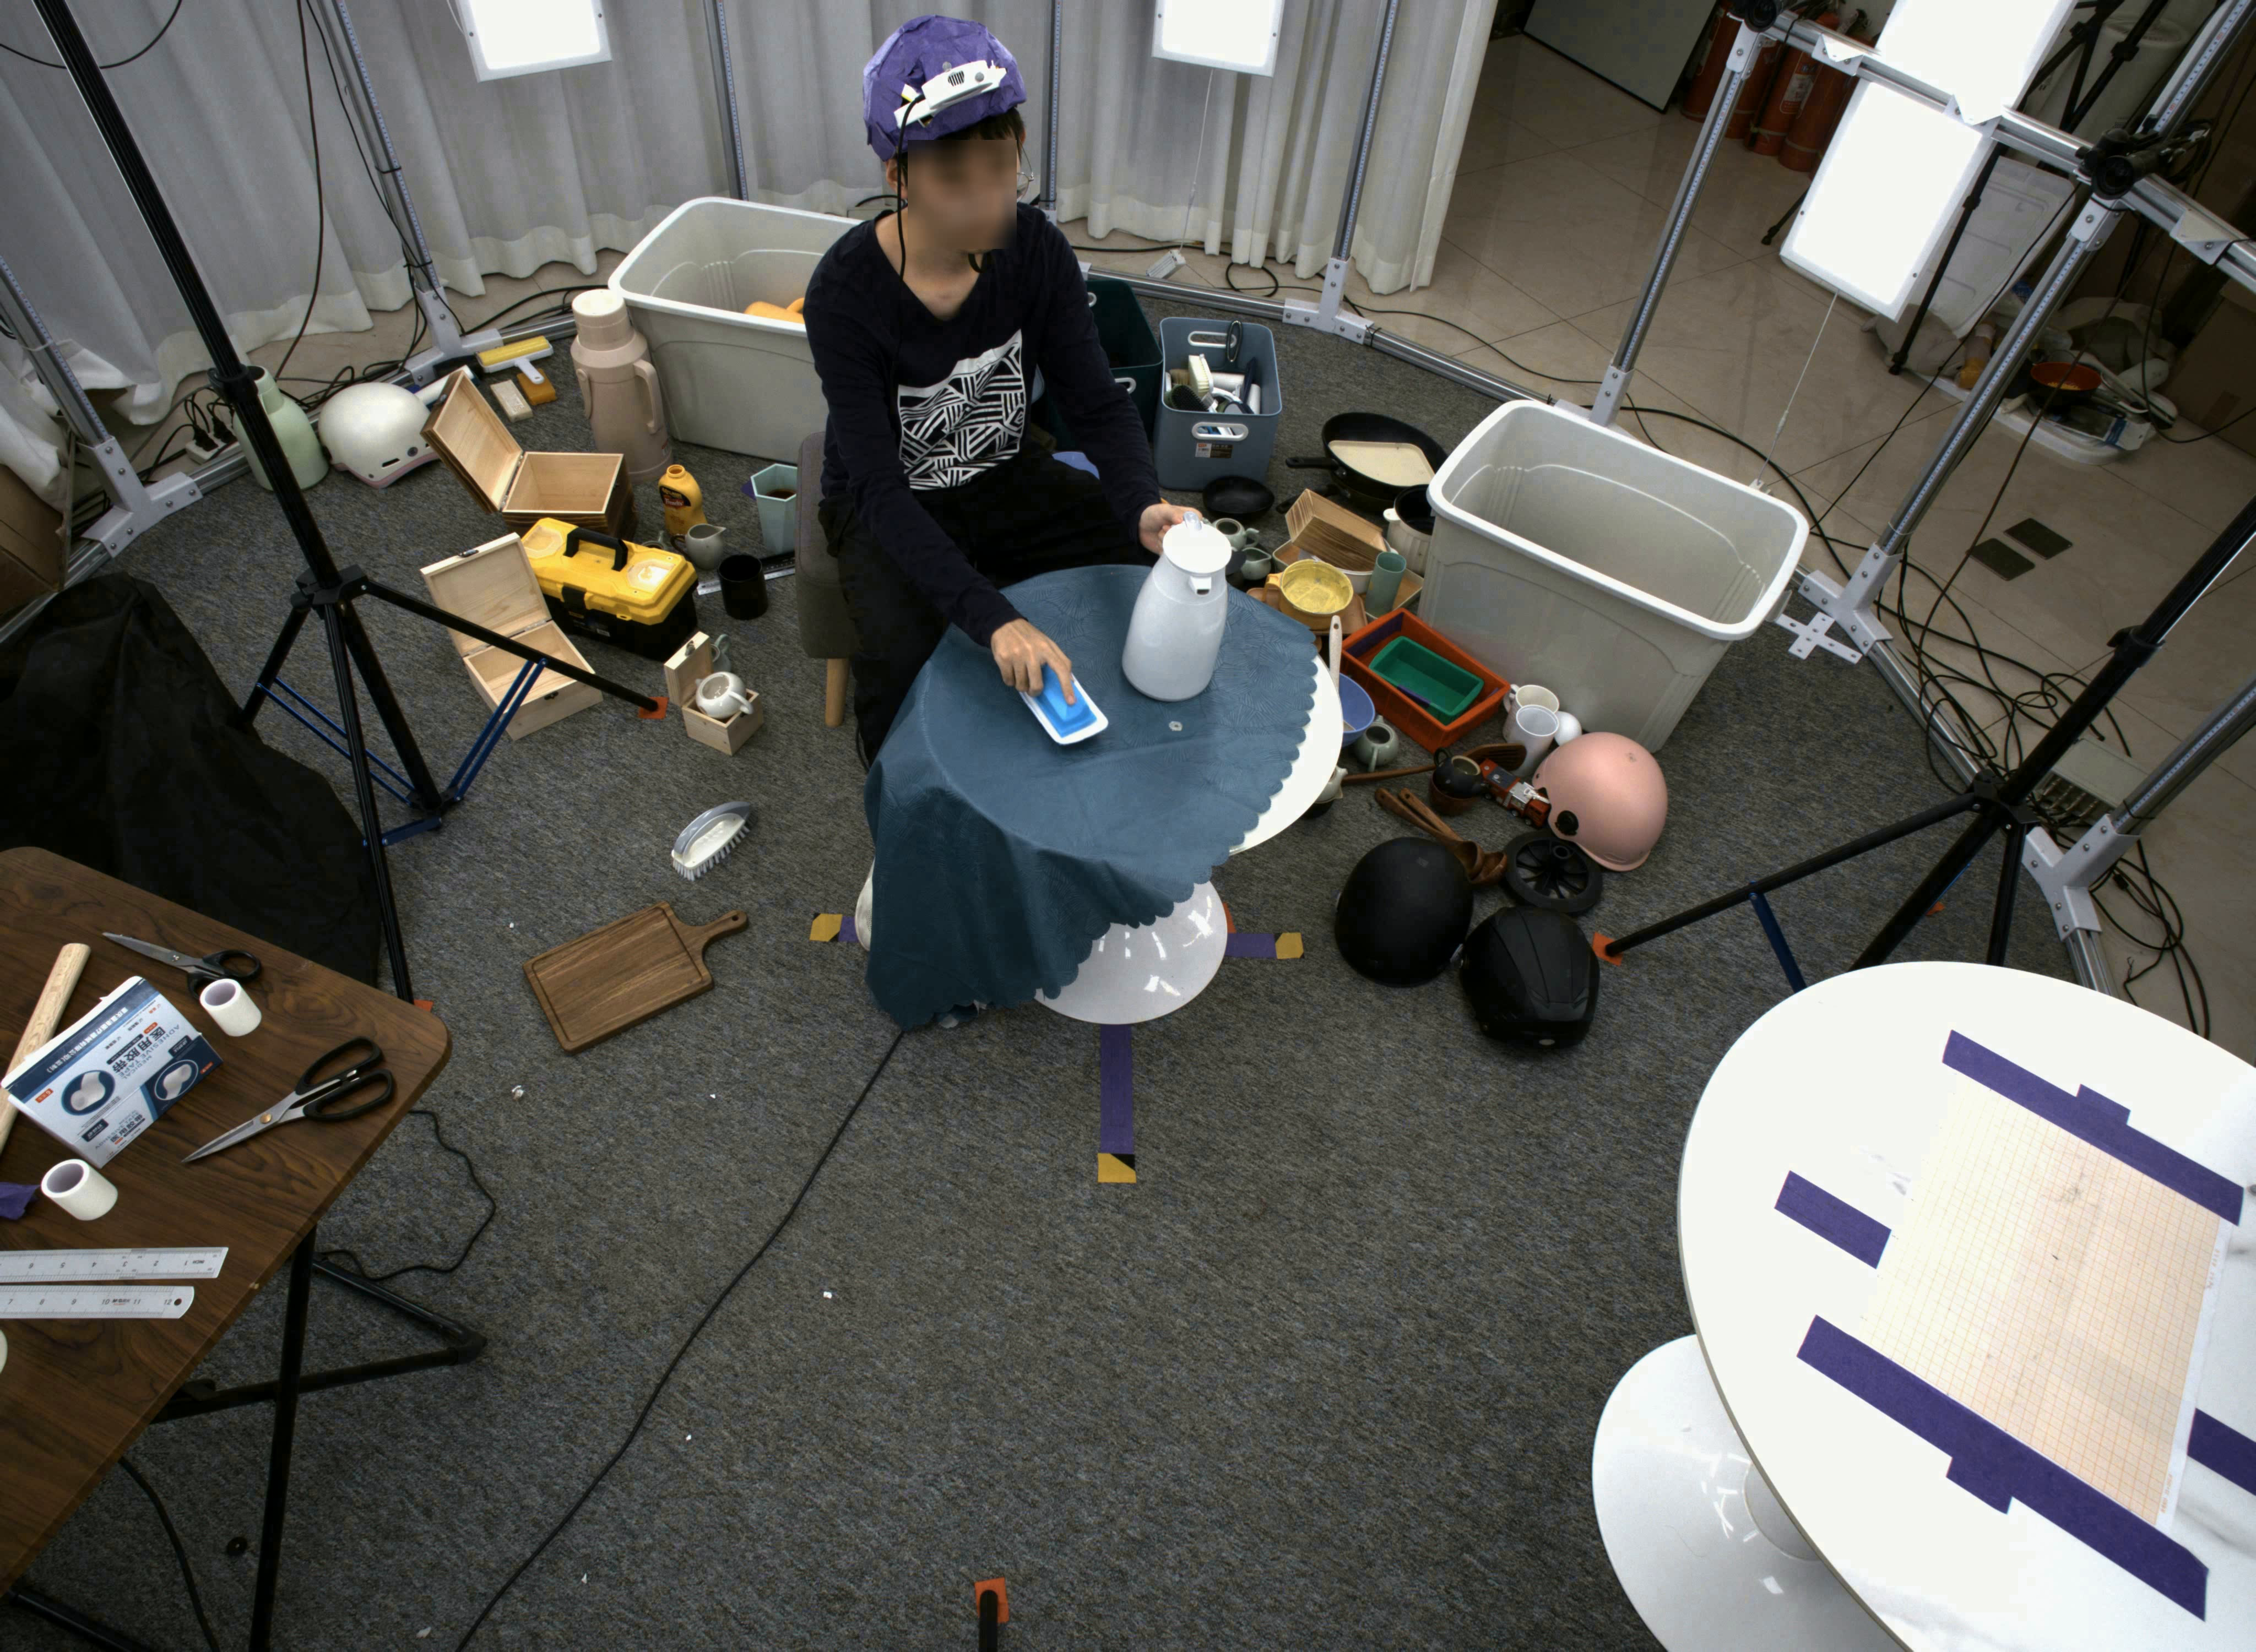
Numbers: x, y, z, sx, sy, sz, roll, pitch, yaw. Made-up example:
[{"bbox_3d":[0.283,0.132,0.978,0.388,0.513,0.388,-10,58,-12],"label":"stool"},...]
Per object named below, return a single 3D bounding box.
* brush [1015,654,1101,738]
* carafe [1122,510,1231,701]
[{"bbox_3d":[-0.097,-0.185,1.762,0.084,0.054,0.147,-21,51,-14],"label":"brush"},{"bbox_3d":[0.069,-0.315,1.774,0.132,0.243,0.172,-4,55,-12],"label":"carafe"}]
